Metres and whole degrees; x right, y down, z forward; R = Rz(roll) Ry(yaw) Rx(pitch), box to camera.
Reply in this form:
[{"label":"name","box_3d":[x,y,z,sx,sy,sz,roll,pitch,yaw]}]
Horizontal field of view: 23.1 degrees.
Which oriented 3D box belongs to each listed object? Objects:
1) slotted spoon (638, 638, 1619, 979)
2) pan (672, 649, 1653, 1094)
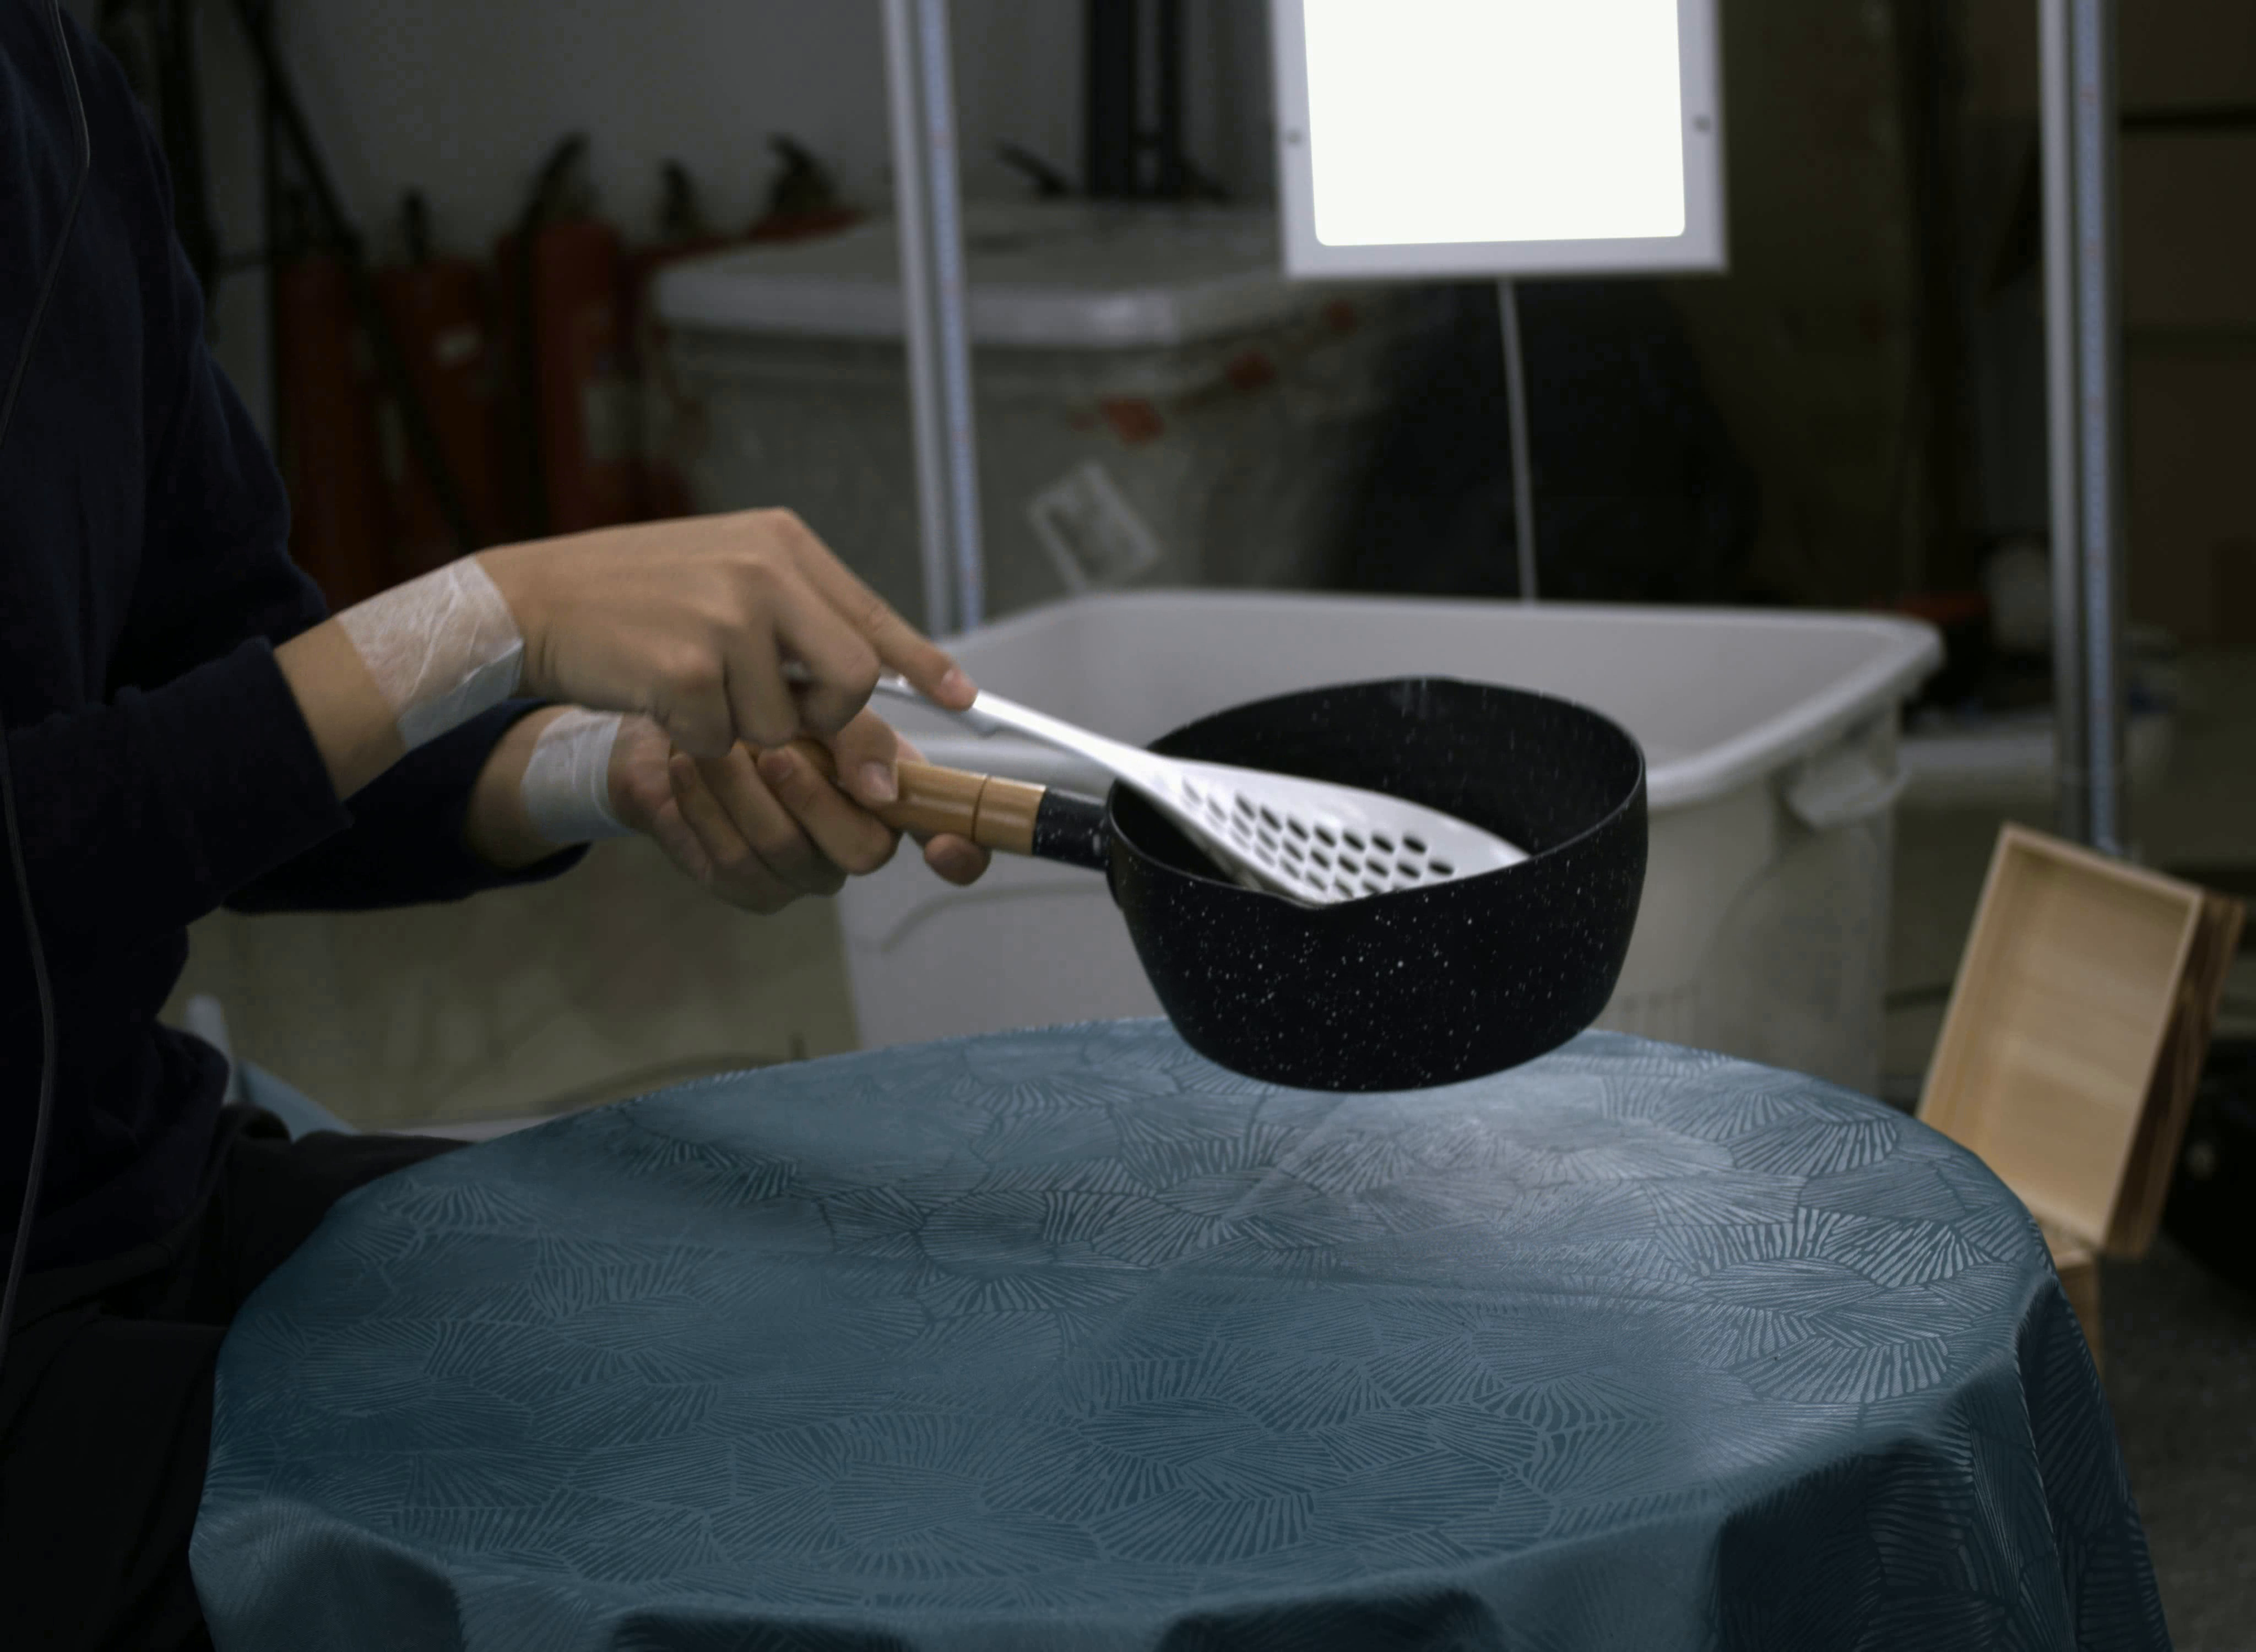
[{"label":"slotted spoon","box_3d":[0.003,-0.014,1.857,0.345,0.051,0.136,24,20,-10]},{"label":"pan","box_3d":[0.010,0.010,1.887,0.346,0.108,0.205,0,26,14]}]
